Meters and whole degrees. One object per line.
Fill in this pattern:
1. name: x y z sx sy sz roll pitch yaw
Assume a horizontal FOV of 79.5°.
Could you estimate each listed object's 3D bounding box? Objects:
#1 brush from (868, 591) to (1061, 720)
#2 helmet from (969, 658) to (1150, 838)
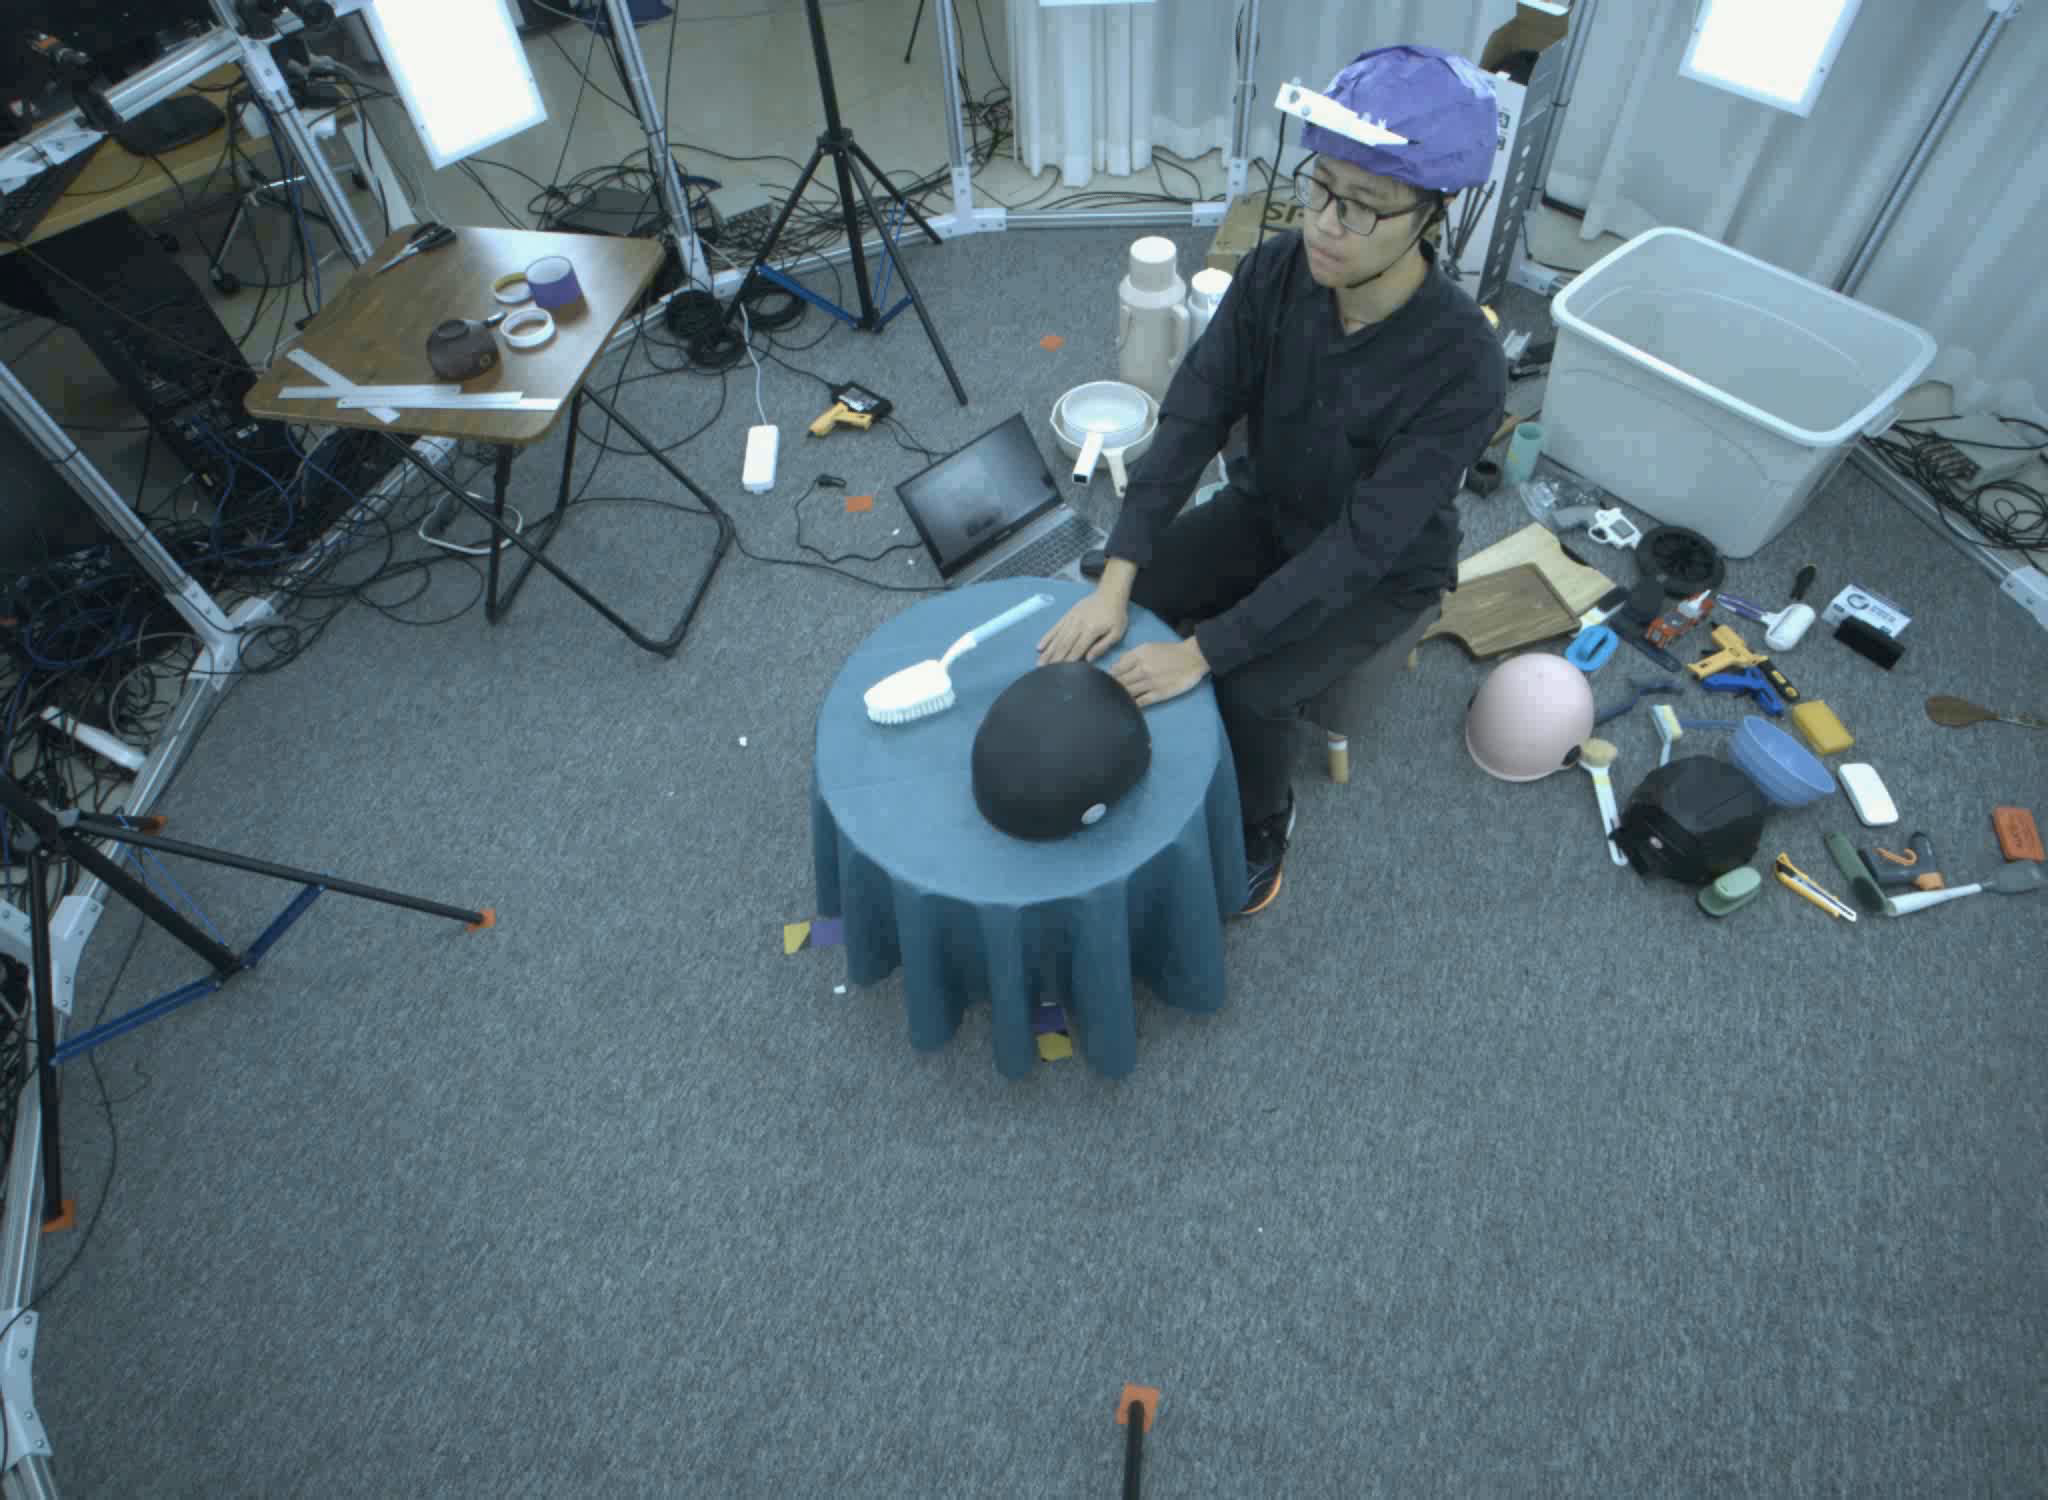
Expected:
1. brush: -0.081 -0.131 1.832 0.326 0.084 0.083 -29 94 -3
2. helmet: 0.044 -0.021 1.704 0.275 0.169 0.226 -38 61 -19
